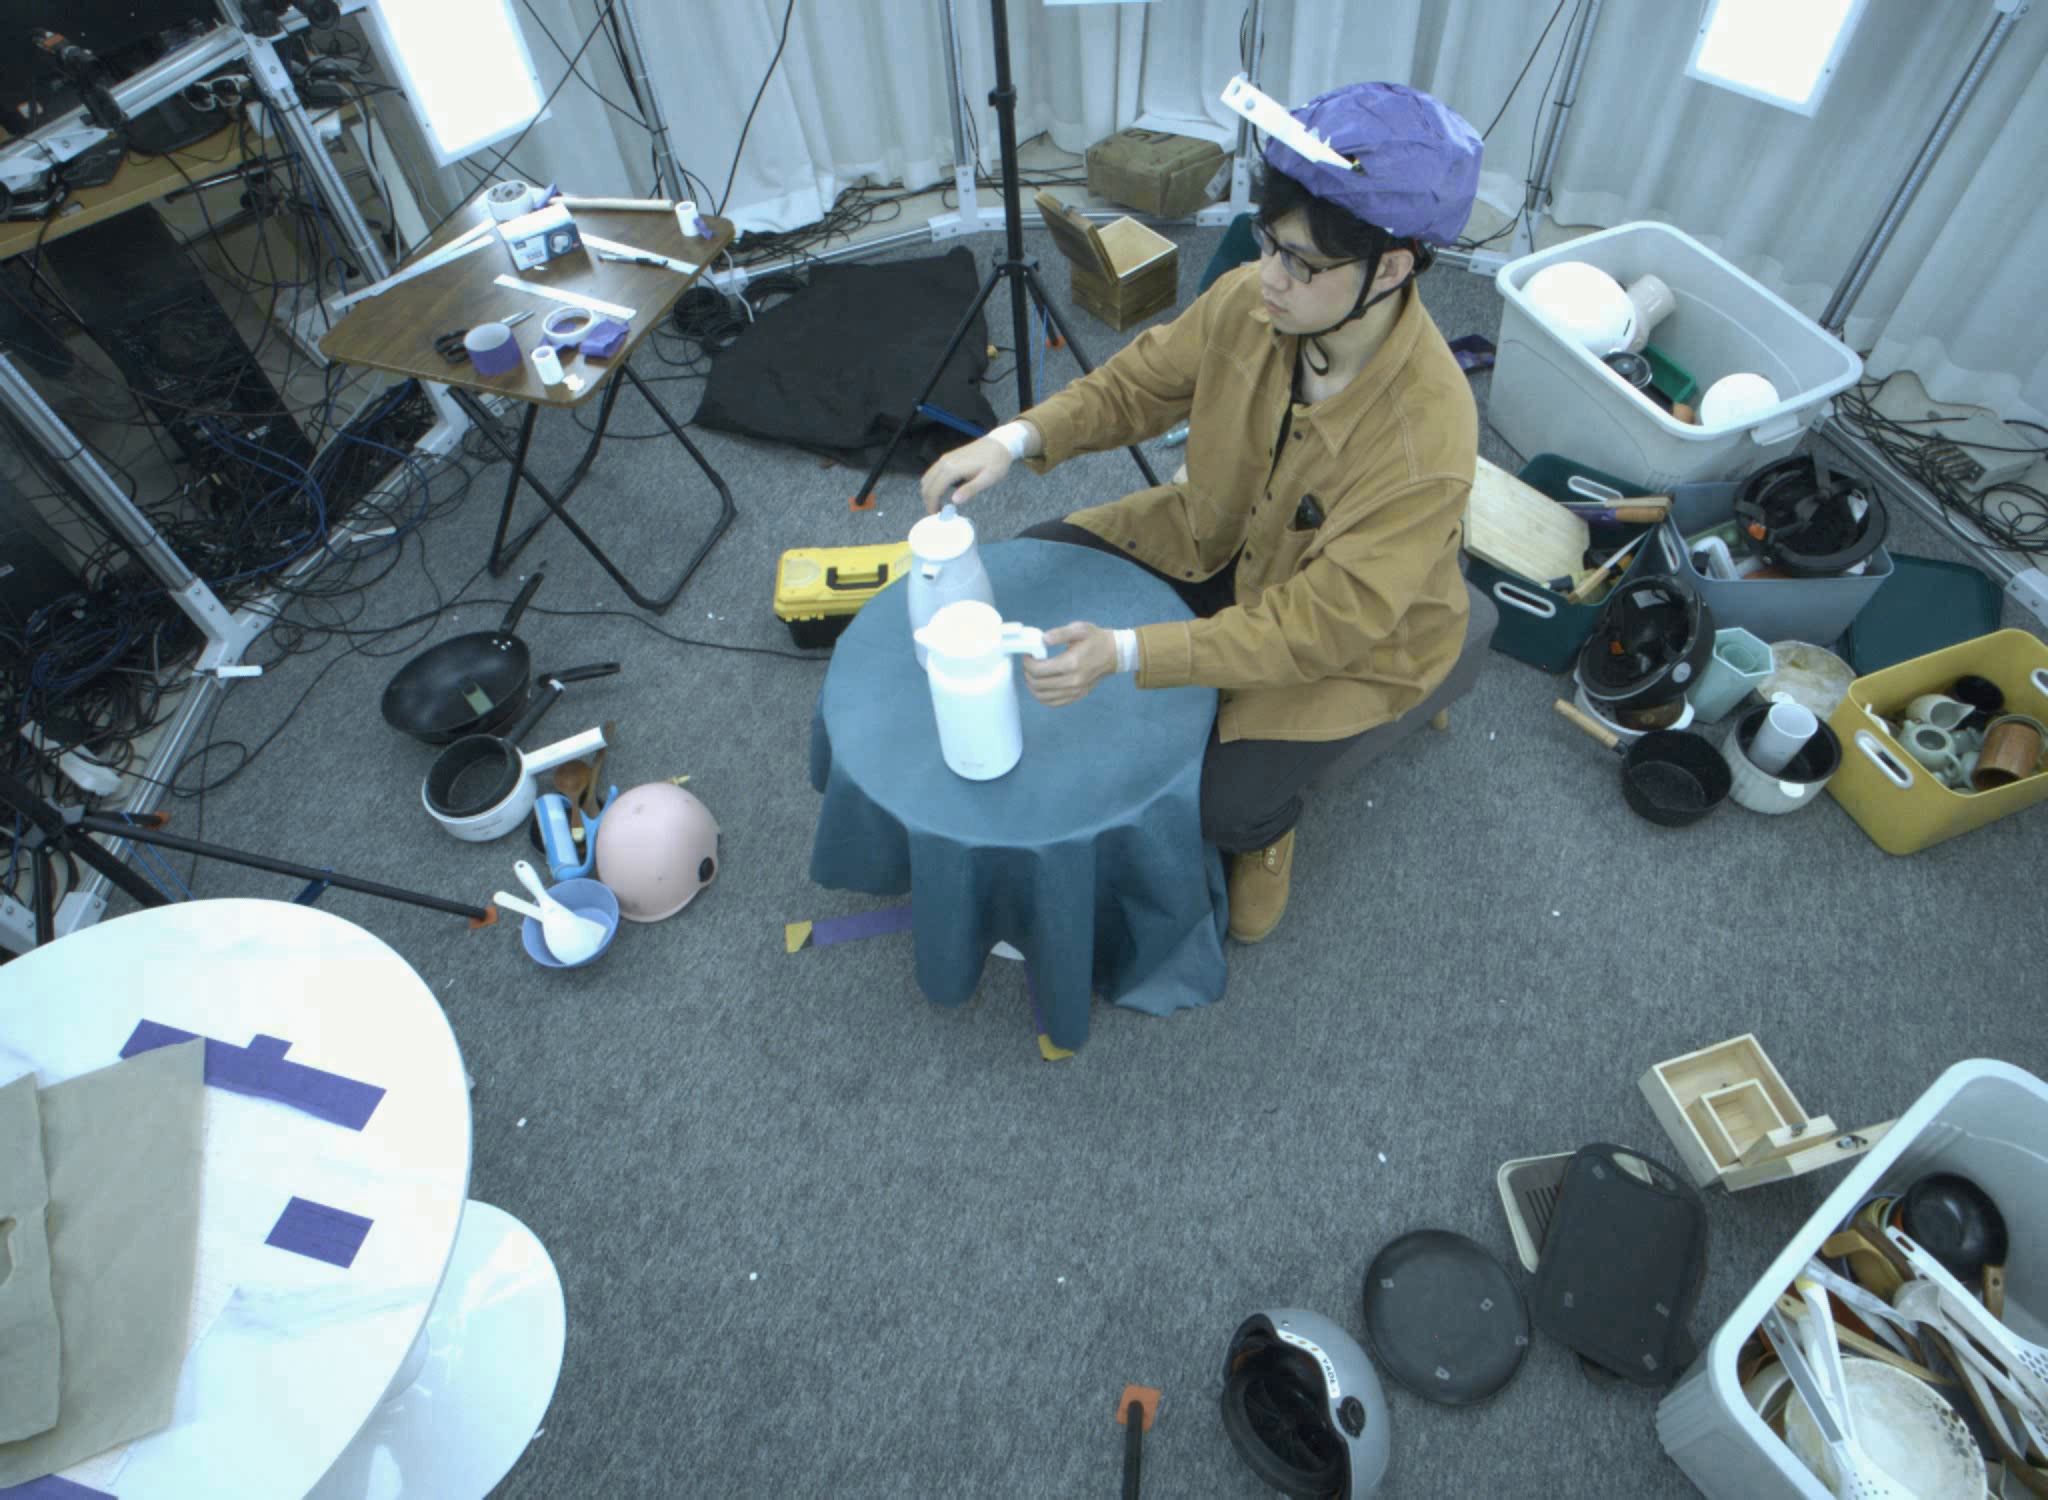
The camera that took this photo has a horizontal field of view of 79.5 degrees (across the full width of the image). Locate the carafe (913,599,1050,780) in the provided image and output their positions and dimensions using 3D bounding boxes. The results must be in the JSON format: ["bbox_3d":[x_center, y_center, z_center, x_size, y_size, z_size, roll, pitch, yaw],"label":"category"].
[{"bbox_3d":[-0.051,-0.080,1.677,0.173,0.272,0.122,-3,52,1],"label":"carafe"}]

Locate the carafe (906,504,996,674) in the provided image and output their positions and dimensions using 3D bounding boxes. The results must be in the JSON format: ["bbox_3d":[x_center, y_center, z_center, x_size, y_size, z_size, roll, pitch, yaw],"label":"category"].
[{"bbox_3d":[-0.107,-0.246,1.809,0.131,0.251,0.167,11,55,11],"label":"carafe"}]
